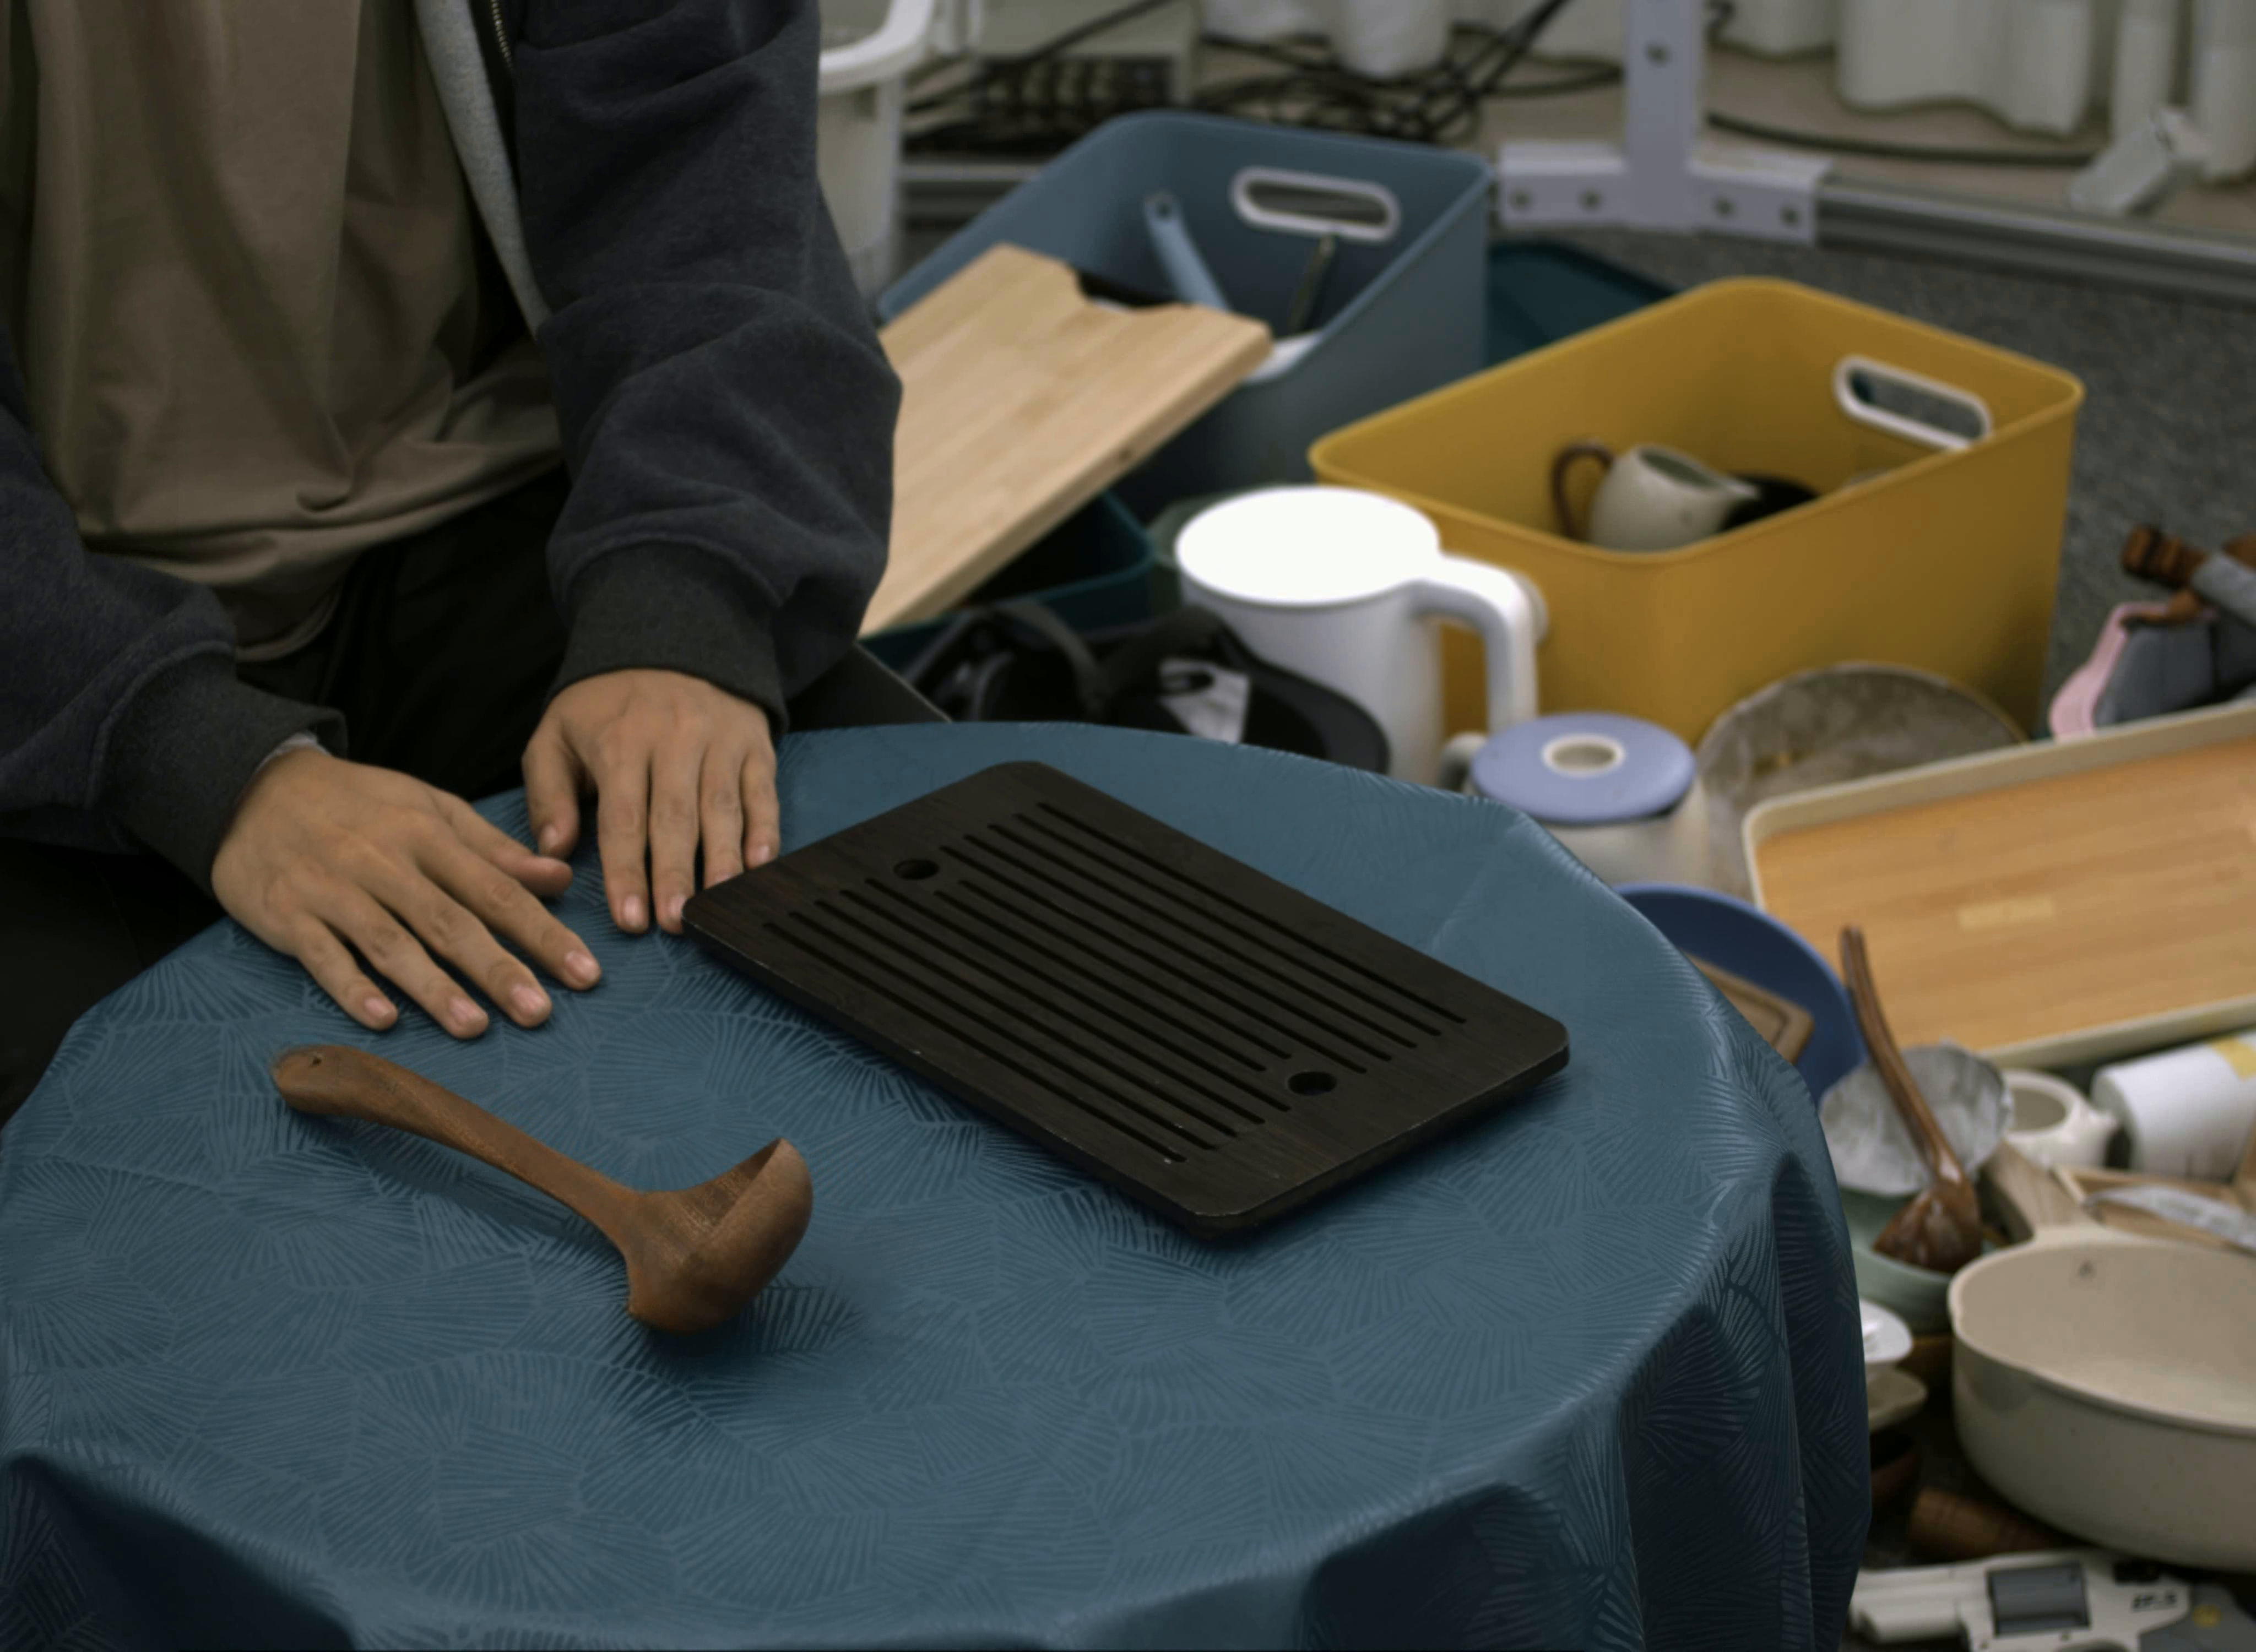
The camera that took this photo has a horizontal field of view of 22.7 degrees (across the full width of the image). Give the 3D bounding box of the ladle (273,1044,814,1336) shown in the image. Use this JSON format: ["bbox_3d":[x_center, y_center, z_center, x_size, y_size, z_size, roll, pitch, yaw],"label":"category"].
[{"bbox_3d":[-0.203,0.104,1.848,0.259,0.064,0.077,21,55,38],"label":"ladle"}]

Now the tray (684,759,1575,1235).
[{"bbox_3d":[-0.004,0.056,1.969,0.172,0.018,0.306,-23,33,-34],"label":"tray"}]
